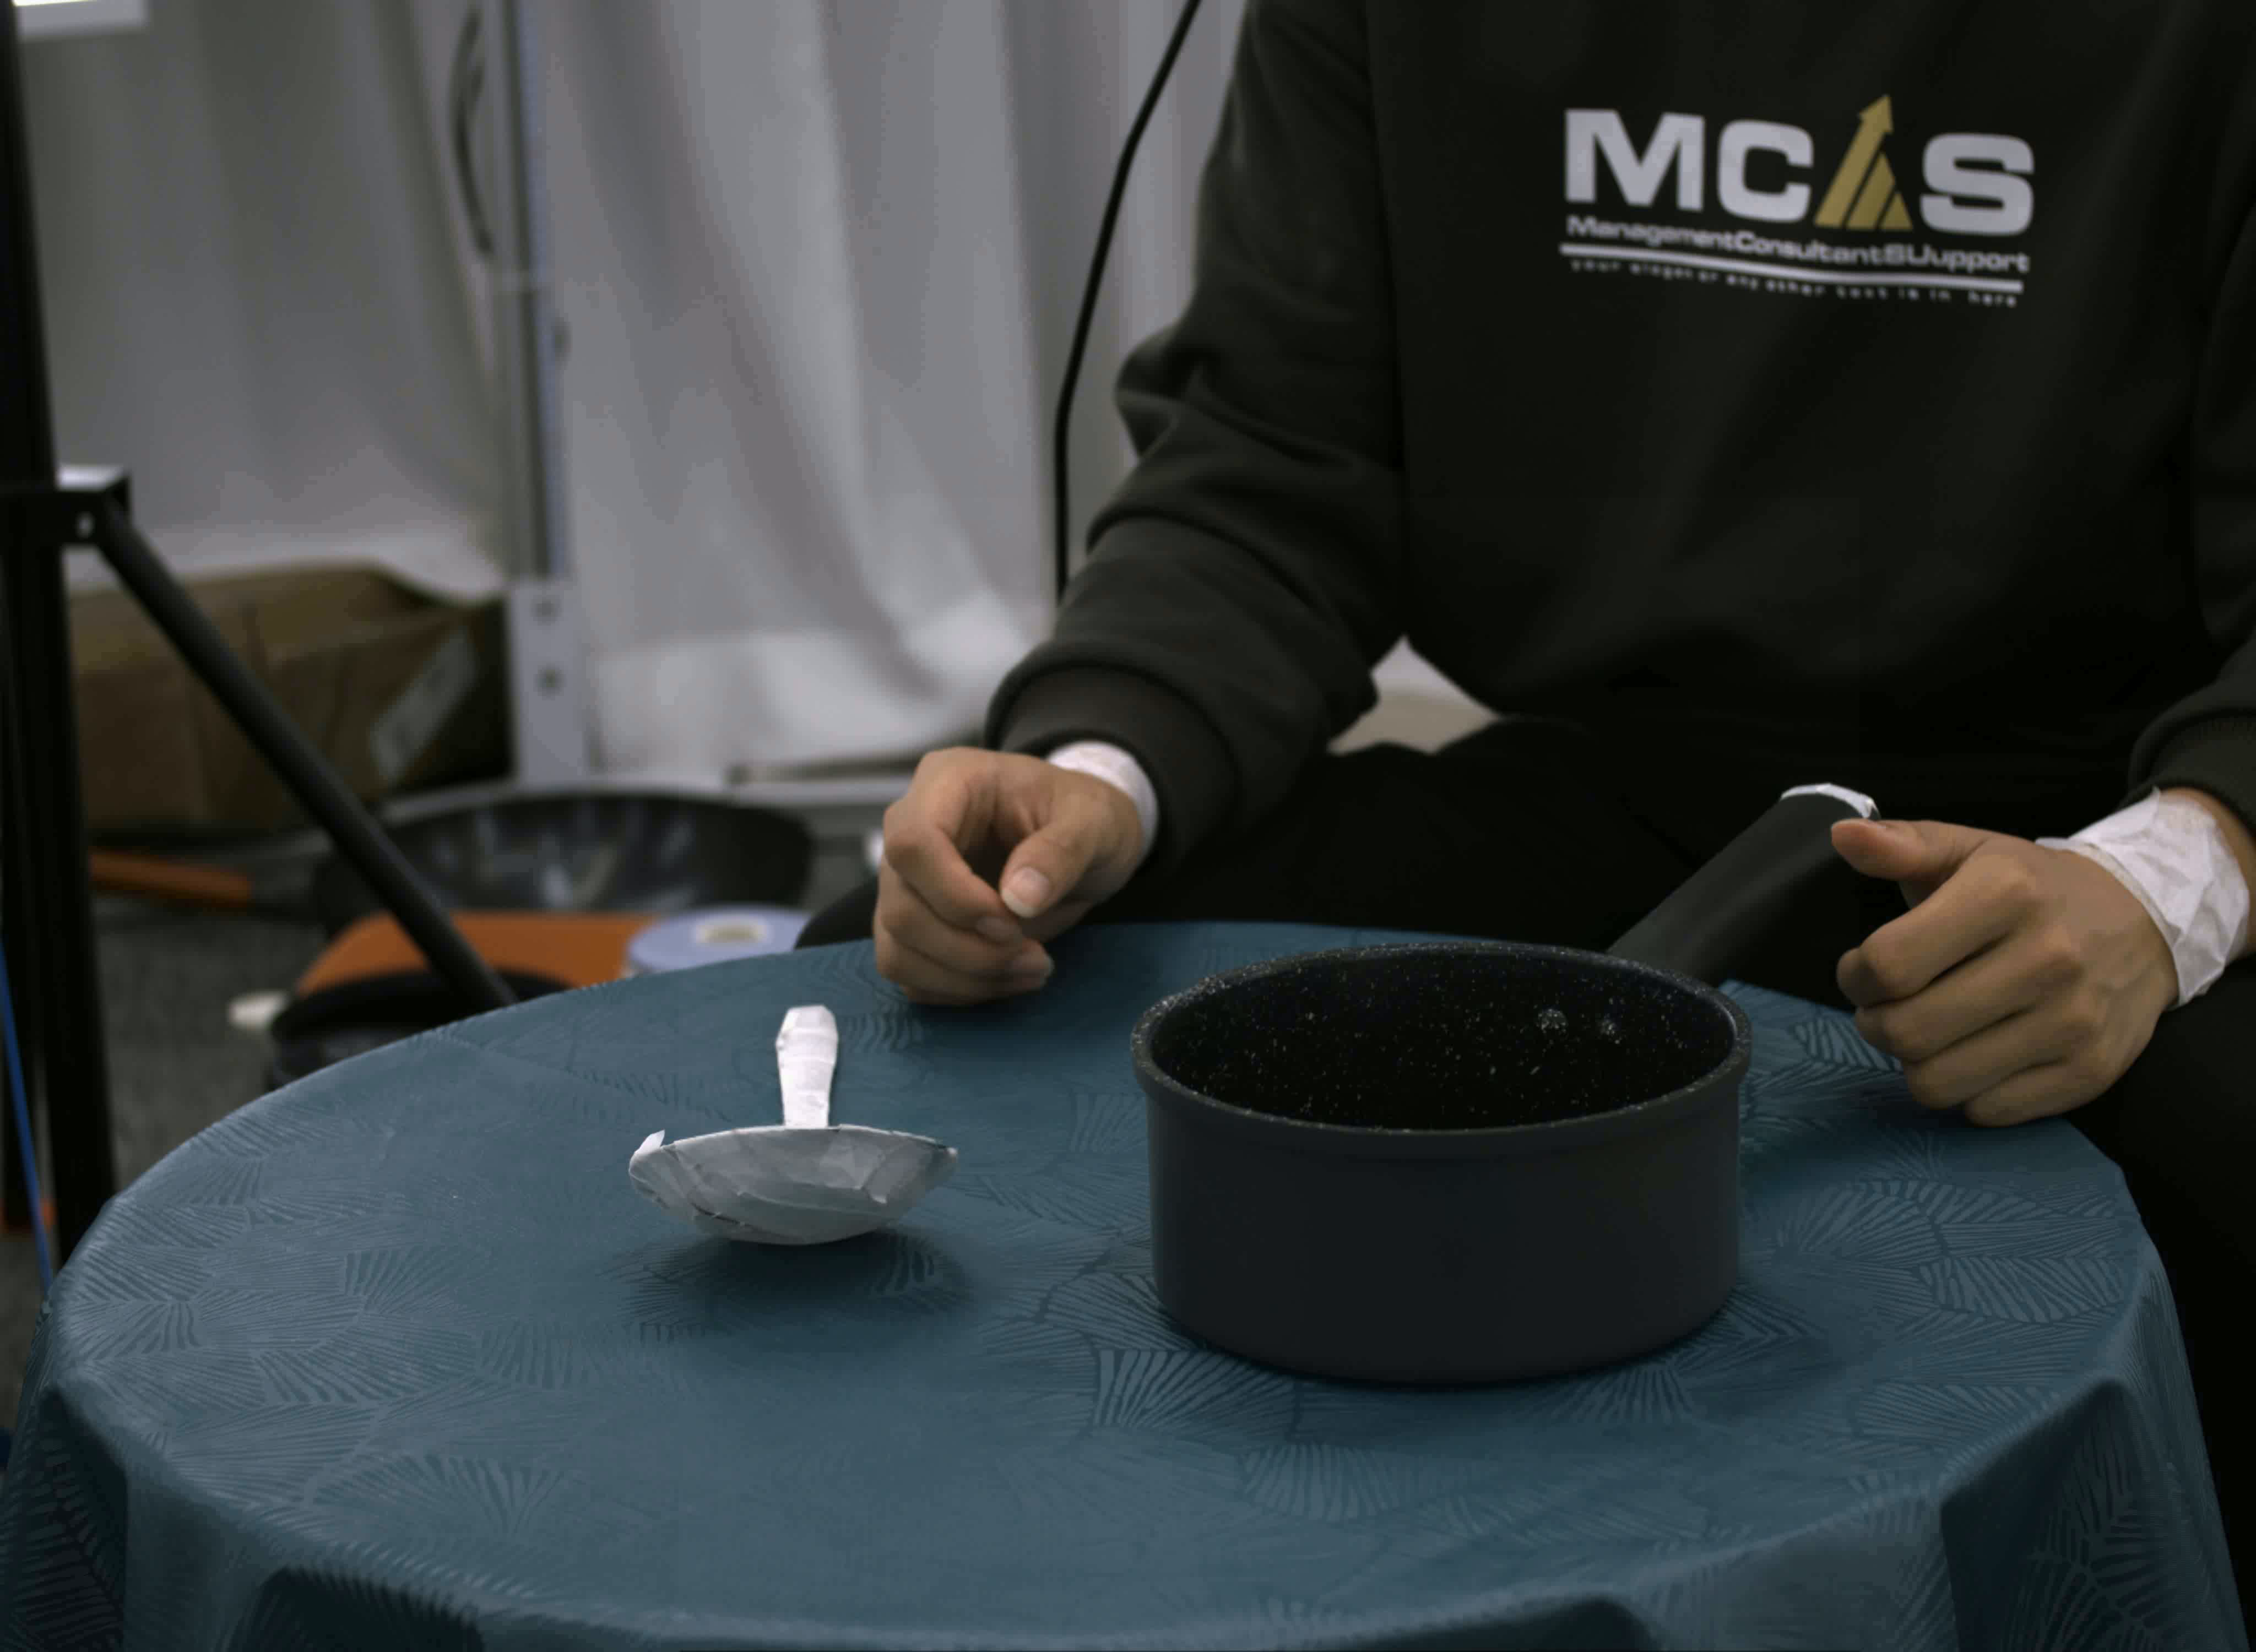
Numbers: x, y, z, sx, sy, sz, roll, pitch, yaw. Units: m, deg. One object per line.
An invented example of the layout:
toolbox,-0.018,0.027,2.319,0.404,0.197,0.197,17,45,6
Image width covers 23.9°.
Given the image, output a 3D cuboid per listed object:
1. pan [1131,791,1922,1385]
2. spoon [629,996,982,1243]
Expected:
pan,0.134,0.071,1.520,0.175,0.086,0.322,11,21,36
spoon,-0.090,0.071,1.604,0.100,0.059,0.278,1,16,1
